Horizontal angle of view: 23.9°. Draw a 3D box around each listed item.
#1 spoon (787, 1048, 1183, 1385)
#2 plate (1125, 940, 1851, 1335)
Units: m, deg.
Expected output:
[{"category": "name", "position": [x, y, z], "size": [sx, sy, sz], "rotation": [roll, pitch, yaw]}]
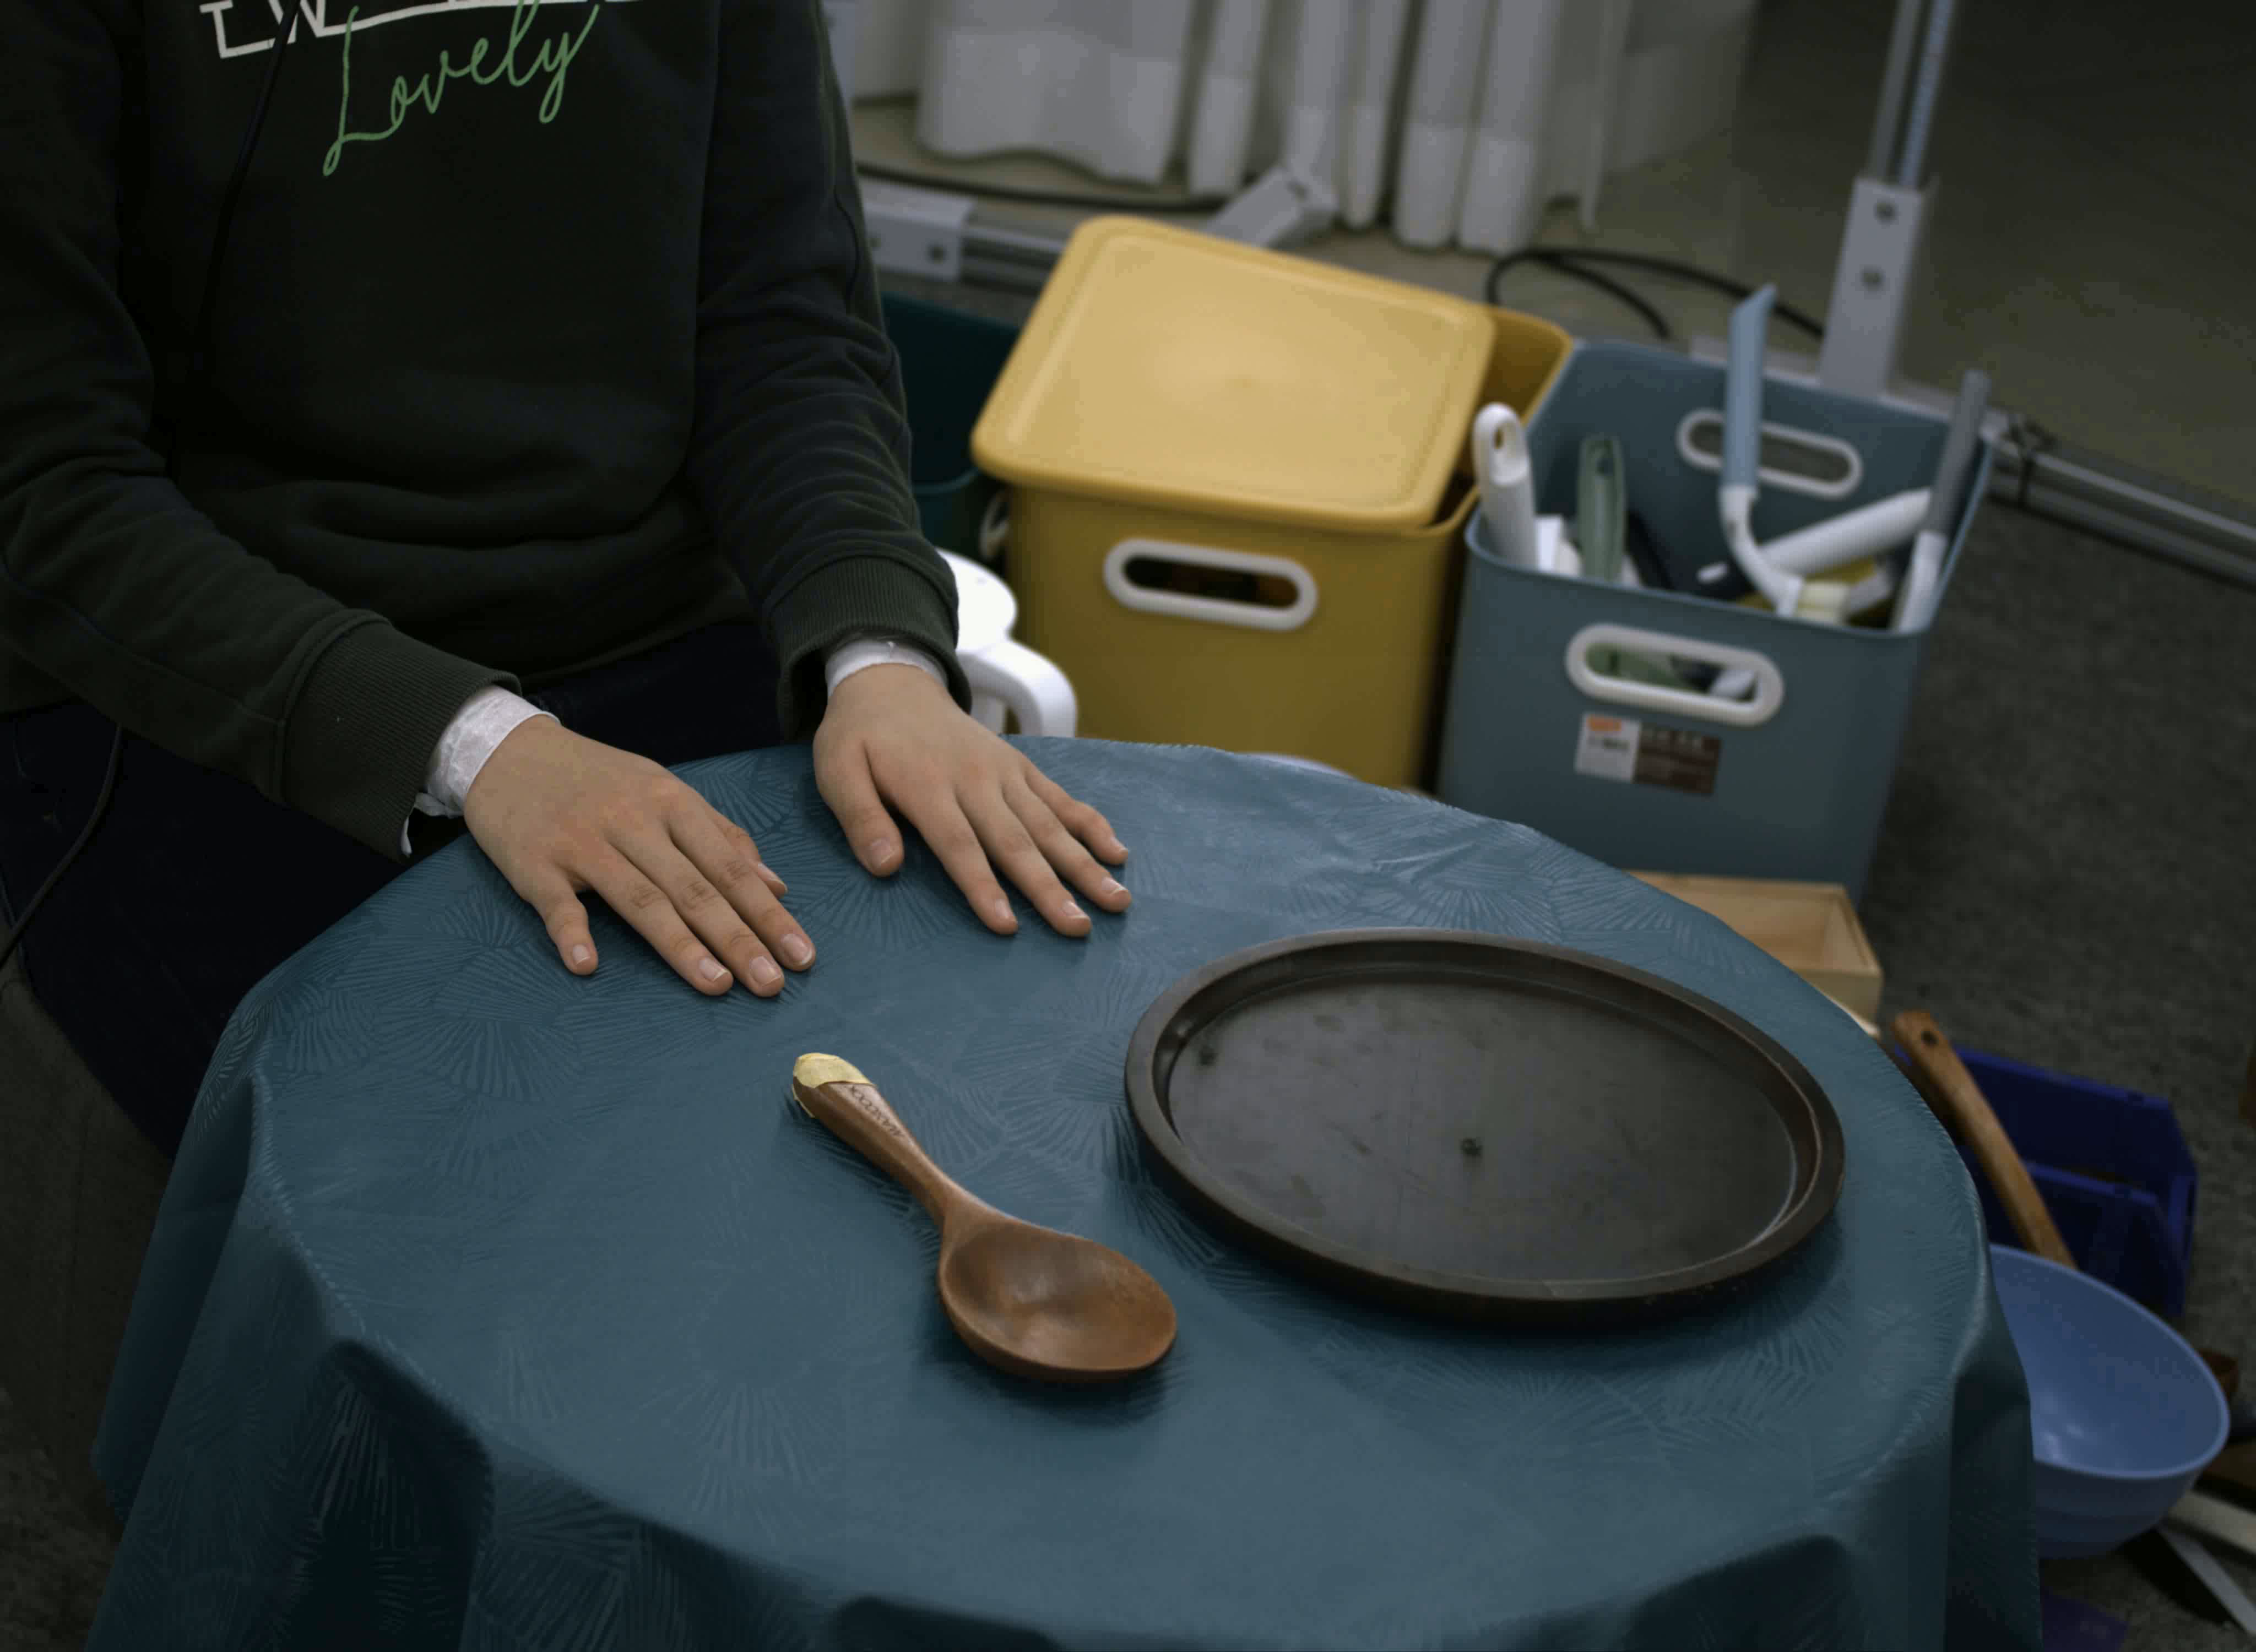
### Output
[{"category": "spoon", "position": [-0.055, 0.129, 1.757], "size": [0.075, 0.017, 0.218], "rotation": [-10, 31, -30]}, {"category": "plate", "position": [0.123, 0.105, 1.841], "size": [0.254, 0.029, 0.256], "rotation": [6, 27, -4]}]
